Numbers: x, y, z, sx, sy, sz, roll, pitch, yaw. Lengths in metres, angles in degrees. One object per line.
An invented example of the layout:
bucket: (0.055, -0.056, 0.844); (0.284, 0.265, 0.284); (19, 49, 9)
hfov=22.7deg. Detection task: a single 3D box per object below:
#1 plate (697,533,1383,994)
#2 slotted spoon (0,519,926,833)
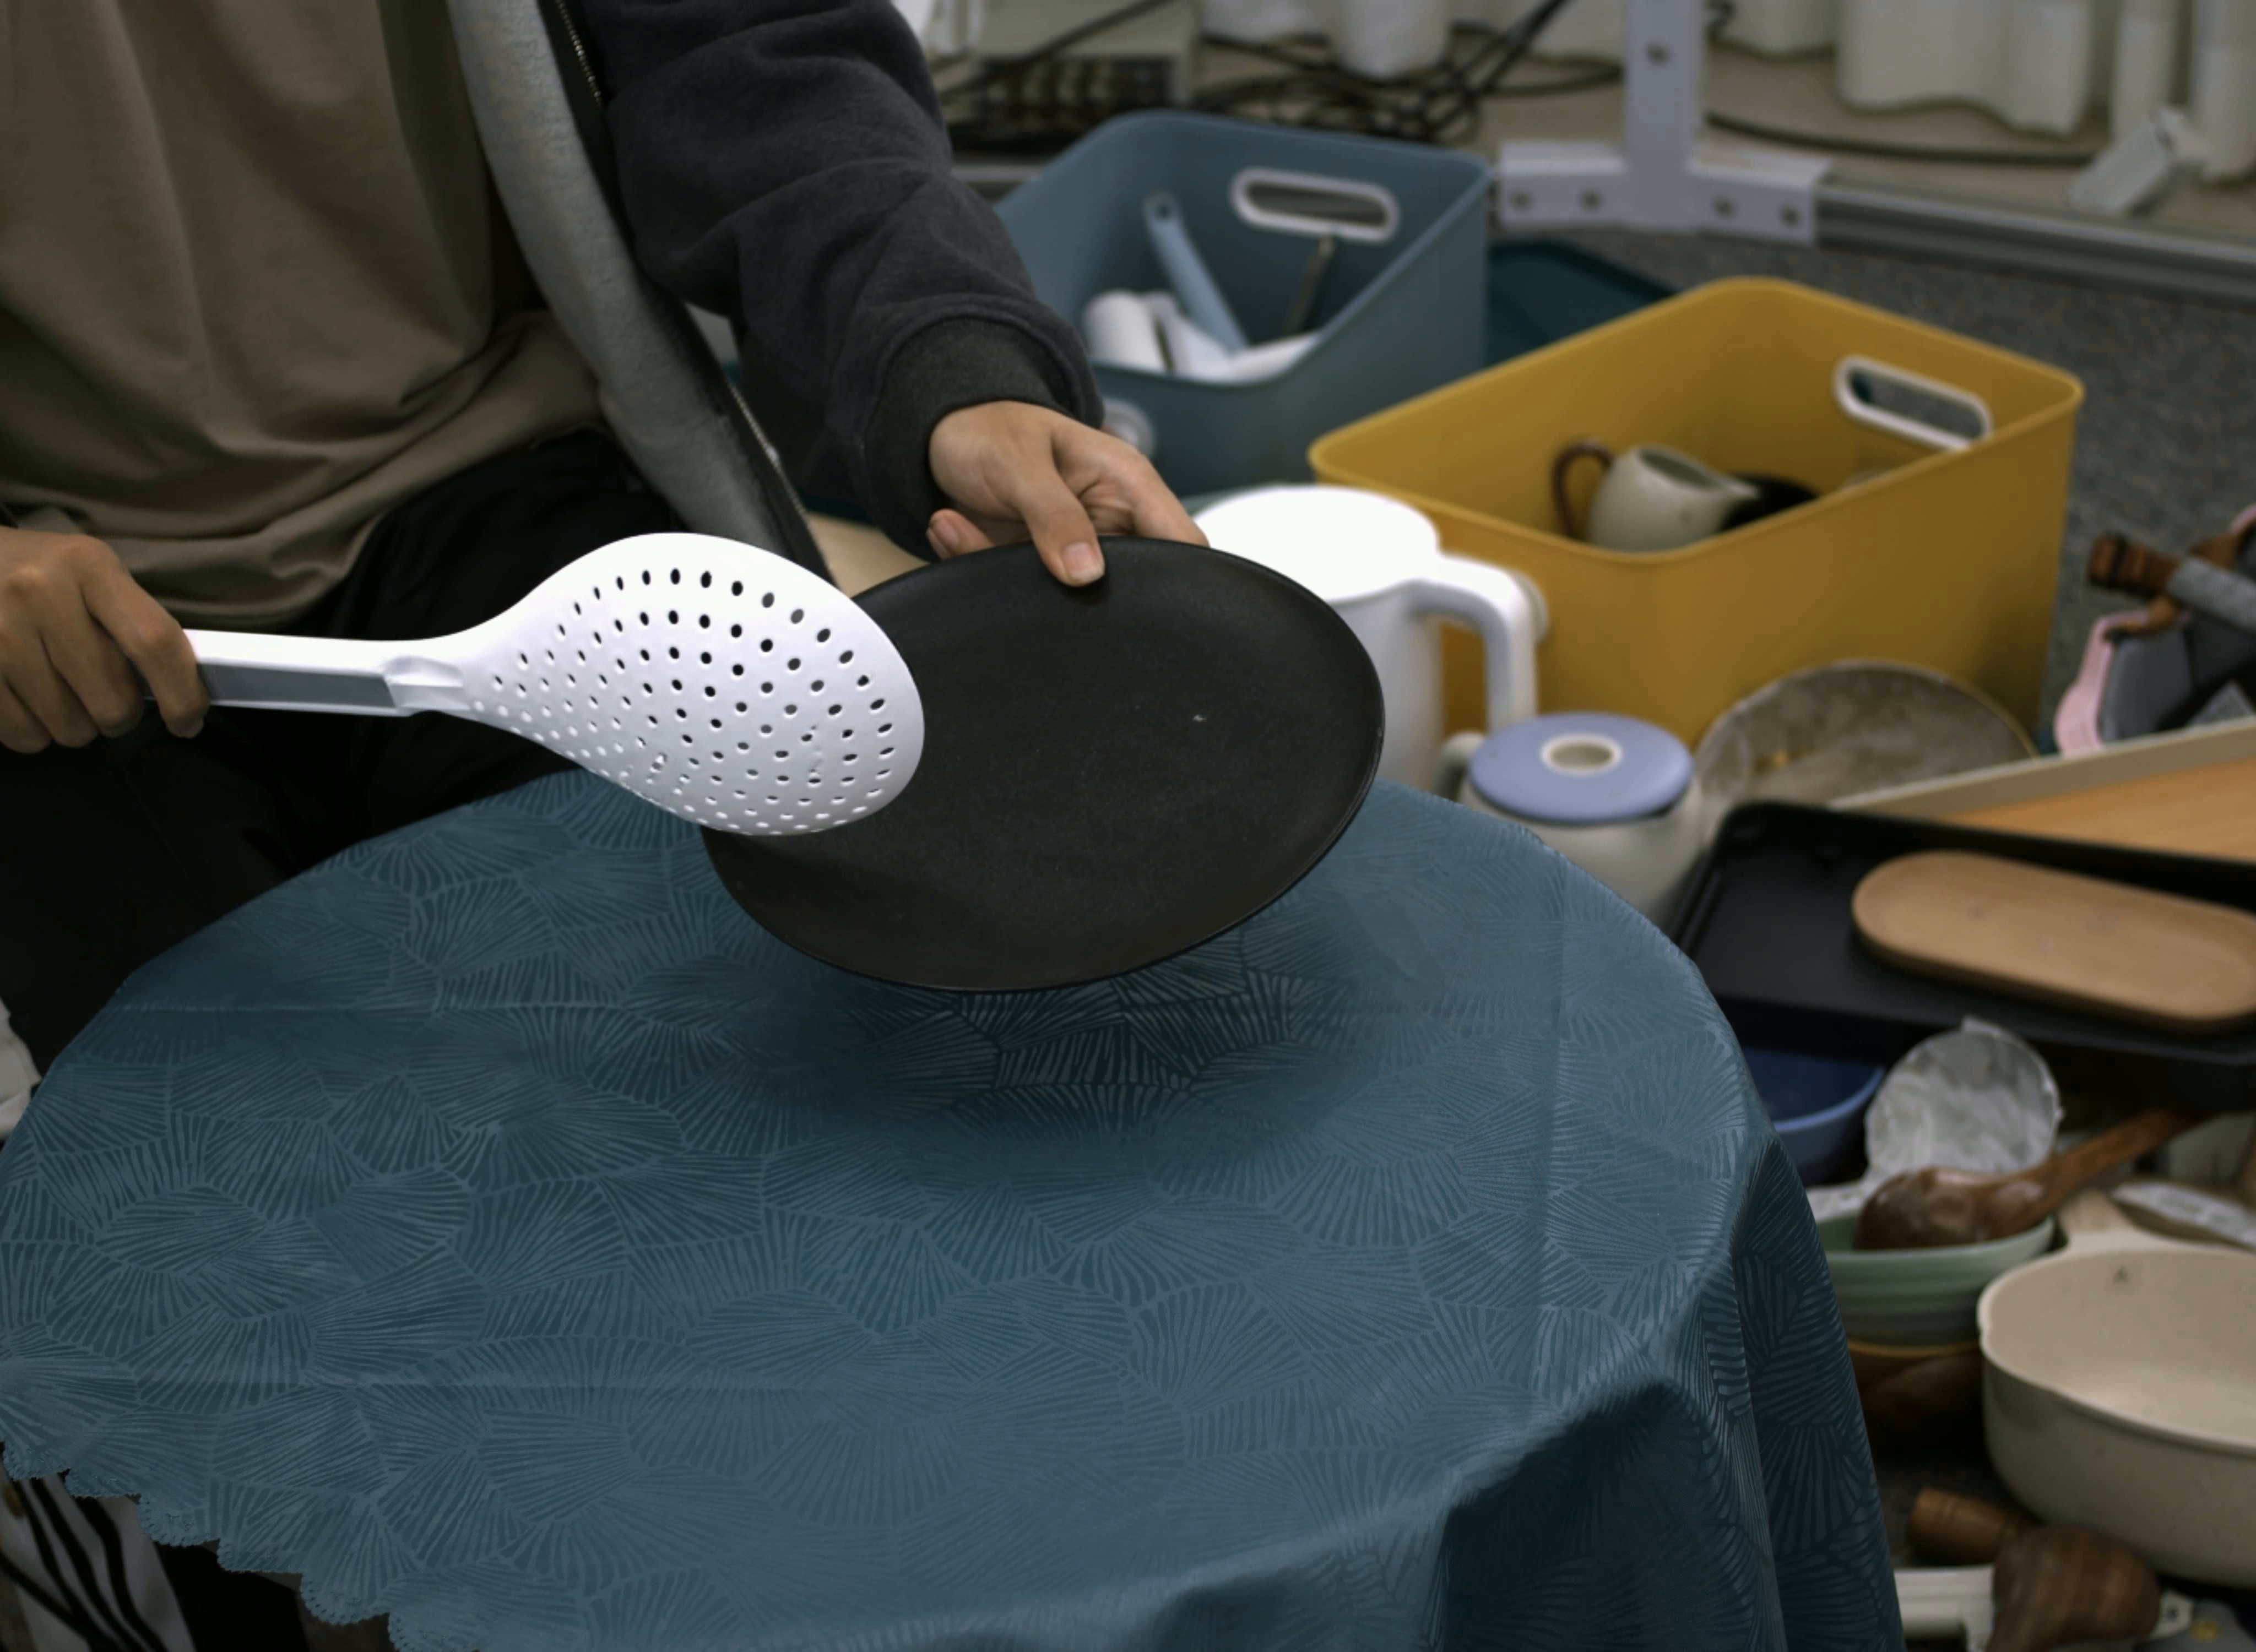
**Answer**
plate: (-0.030, -0.018, 1.963); (0.243, 0.023, 0.249); (-6, 40, 5)
slotted spoon: (-0.235, -0.052, 1.936); (0.347, 0.134, 0.046); (7, 44, 23)
